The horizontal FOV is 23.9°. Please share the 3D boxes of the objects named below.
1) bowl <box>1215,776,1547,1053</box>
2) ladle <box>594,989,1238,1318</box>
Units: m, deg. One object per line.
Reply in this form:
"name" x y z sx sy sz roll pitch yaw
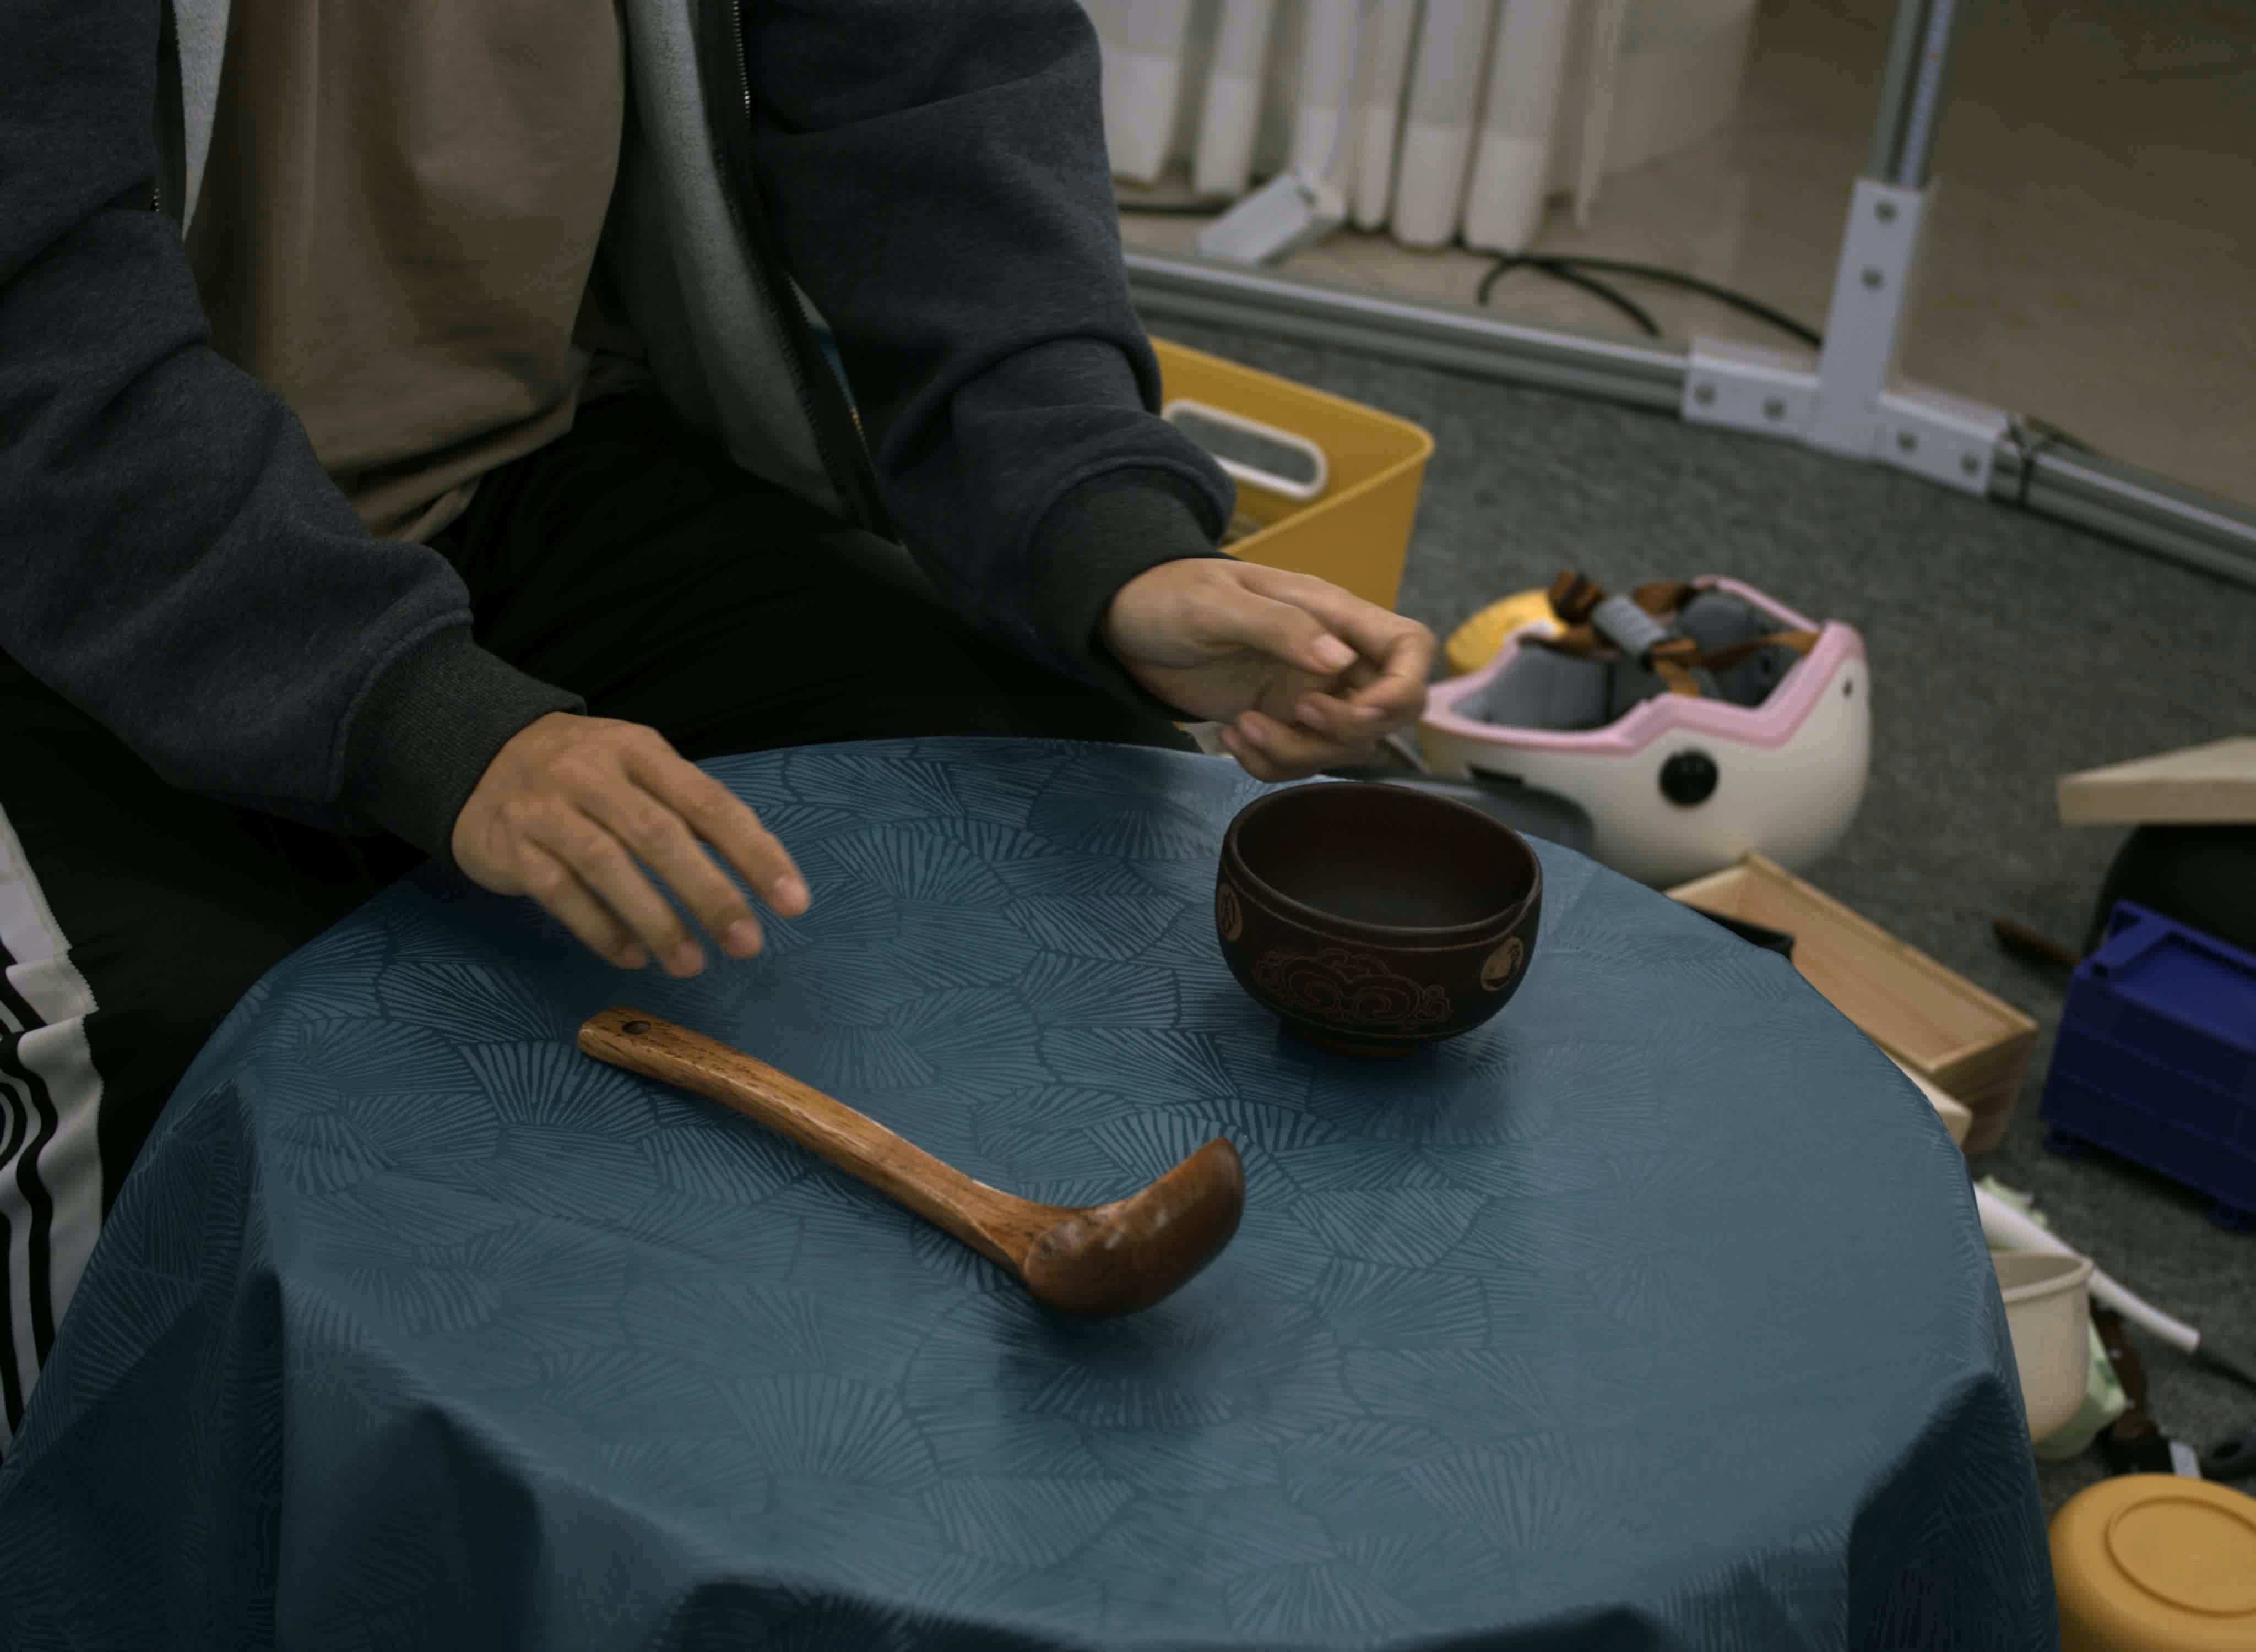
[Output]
"bowl" 0.088 0.038 1.907 0.117 0.069 0.119 5 27 -3
"ladle" -0.080 0.089 1.765 0.276 0.076 0.081 27 38 33
